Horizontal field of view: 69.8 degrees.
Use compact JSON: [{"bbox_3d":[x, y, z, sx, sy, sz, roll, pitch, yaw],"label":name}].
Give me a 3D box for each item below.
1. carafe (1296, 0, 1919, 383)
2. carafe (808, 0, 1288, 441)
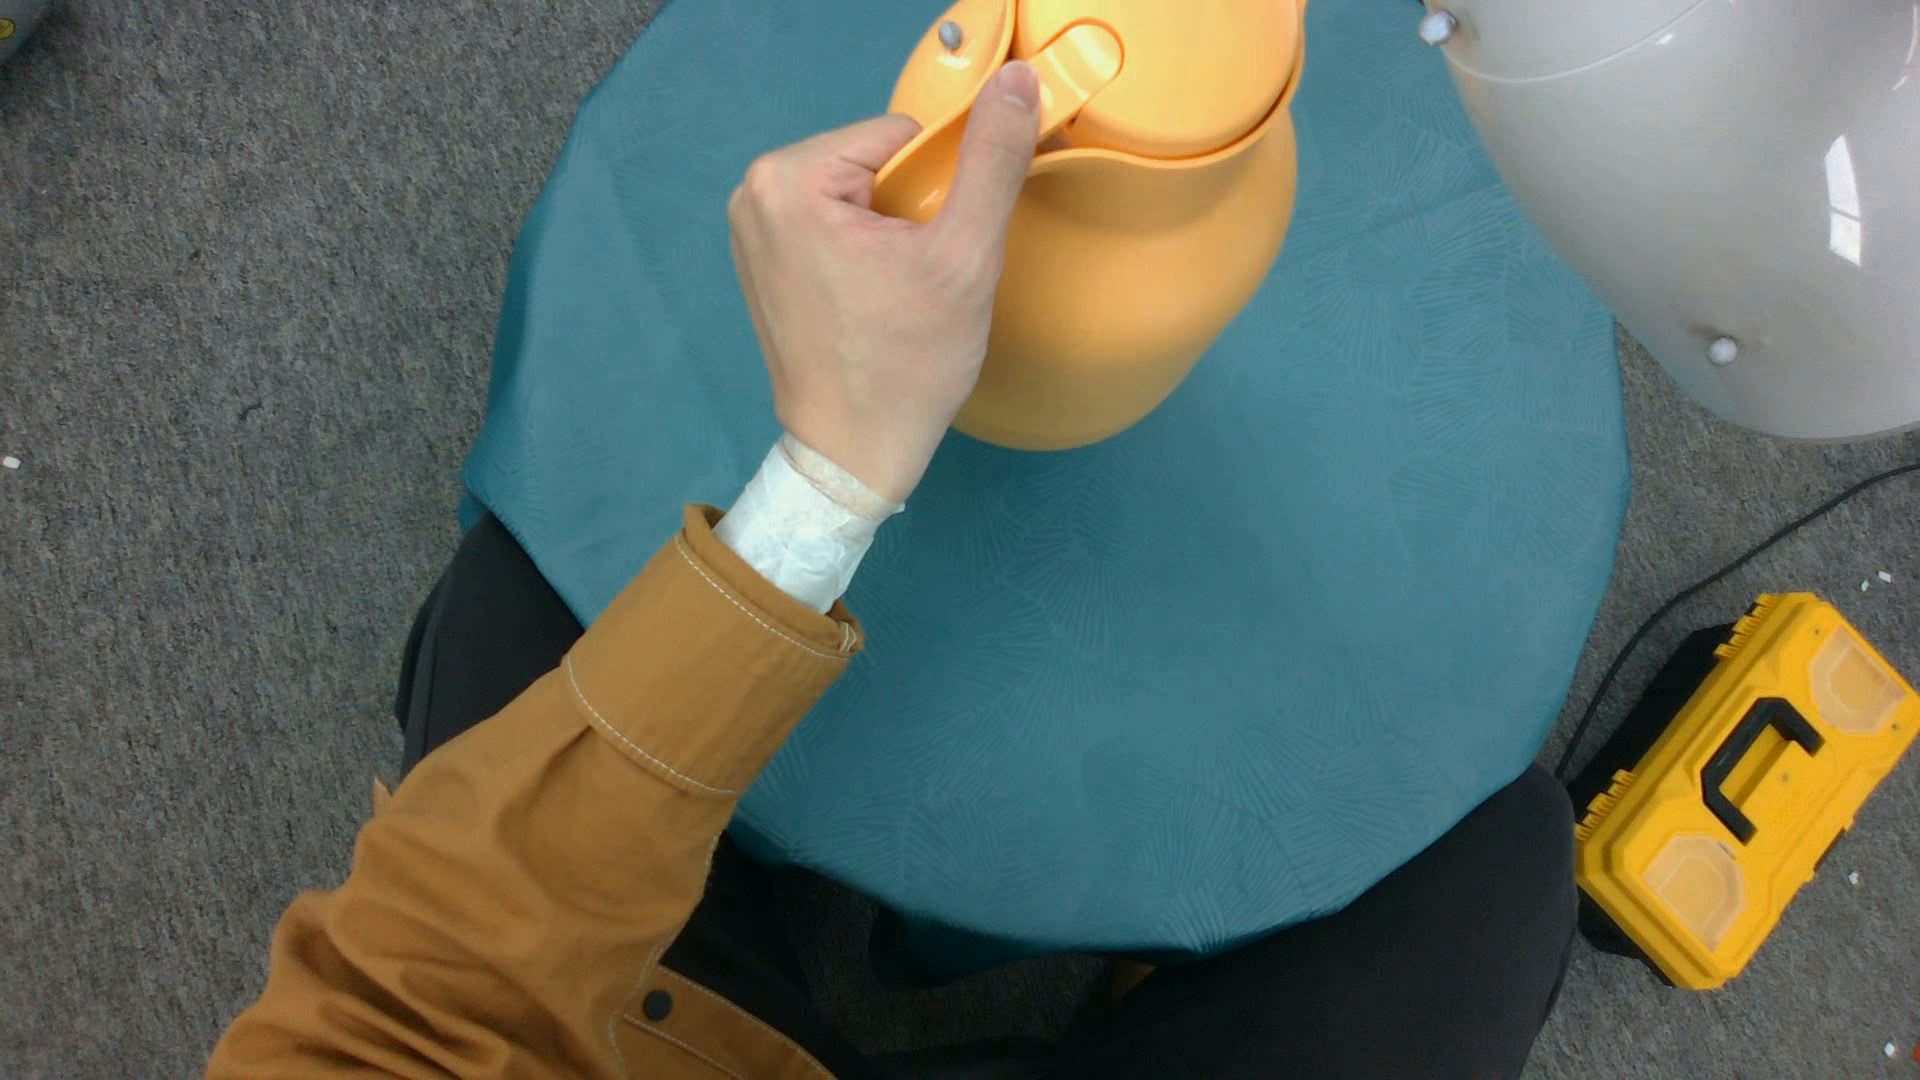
[{"bbox_3d":[0.220,-0.130,0.373,0.249,0.167,0.132,9,91,-39],"label":"carafe"},{"bbox_3d":[0.025,-0.135,0.544,0.203,0.259,0.163,-36,84,-14],"label":"carafe"}]
